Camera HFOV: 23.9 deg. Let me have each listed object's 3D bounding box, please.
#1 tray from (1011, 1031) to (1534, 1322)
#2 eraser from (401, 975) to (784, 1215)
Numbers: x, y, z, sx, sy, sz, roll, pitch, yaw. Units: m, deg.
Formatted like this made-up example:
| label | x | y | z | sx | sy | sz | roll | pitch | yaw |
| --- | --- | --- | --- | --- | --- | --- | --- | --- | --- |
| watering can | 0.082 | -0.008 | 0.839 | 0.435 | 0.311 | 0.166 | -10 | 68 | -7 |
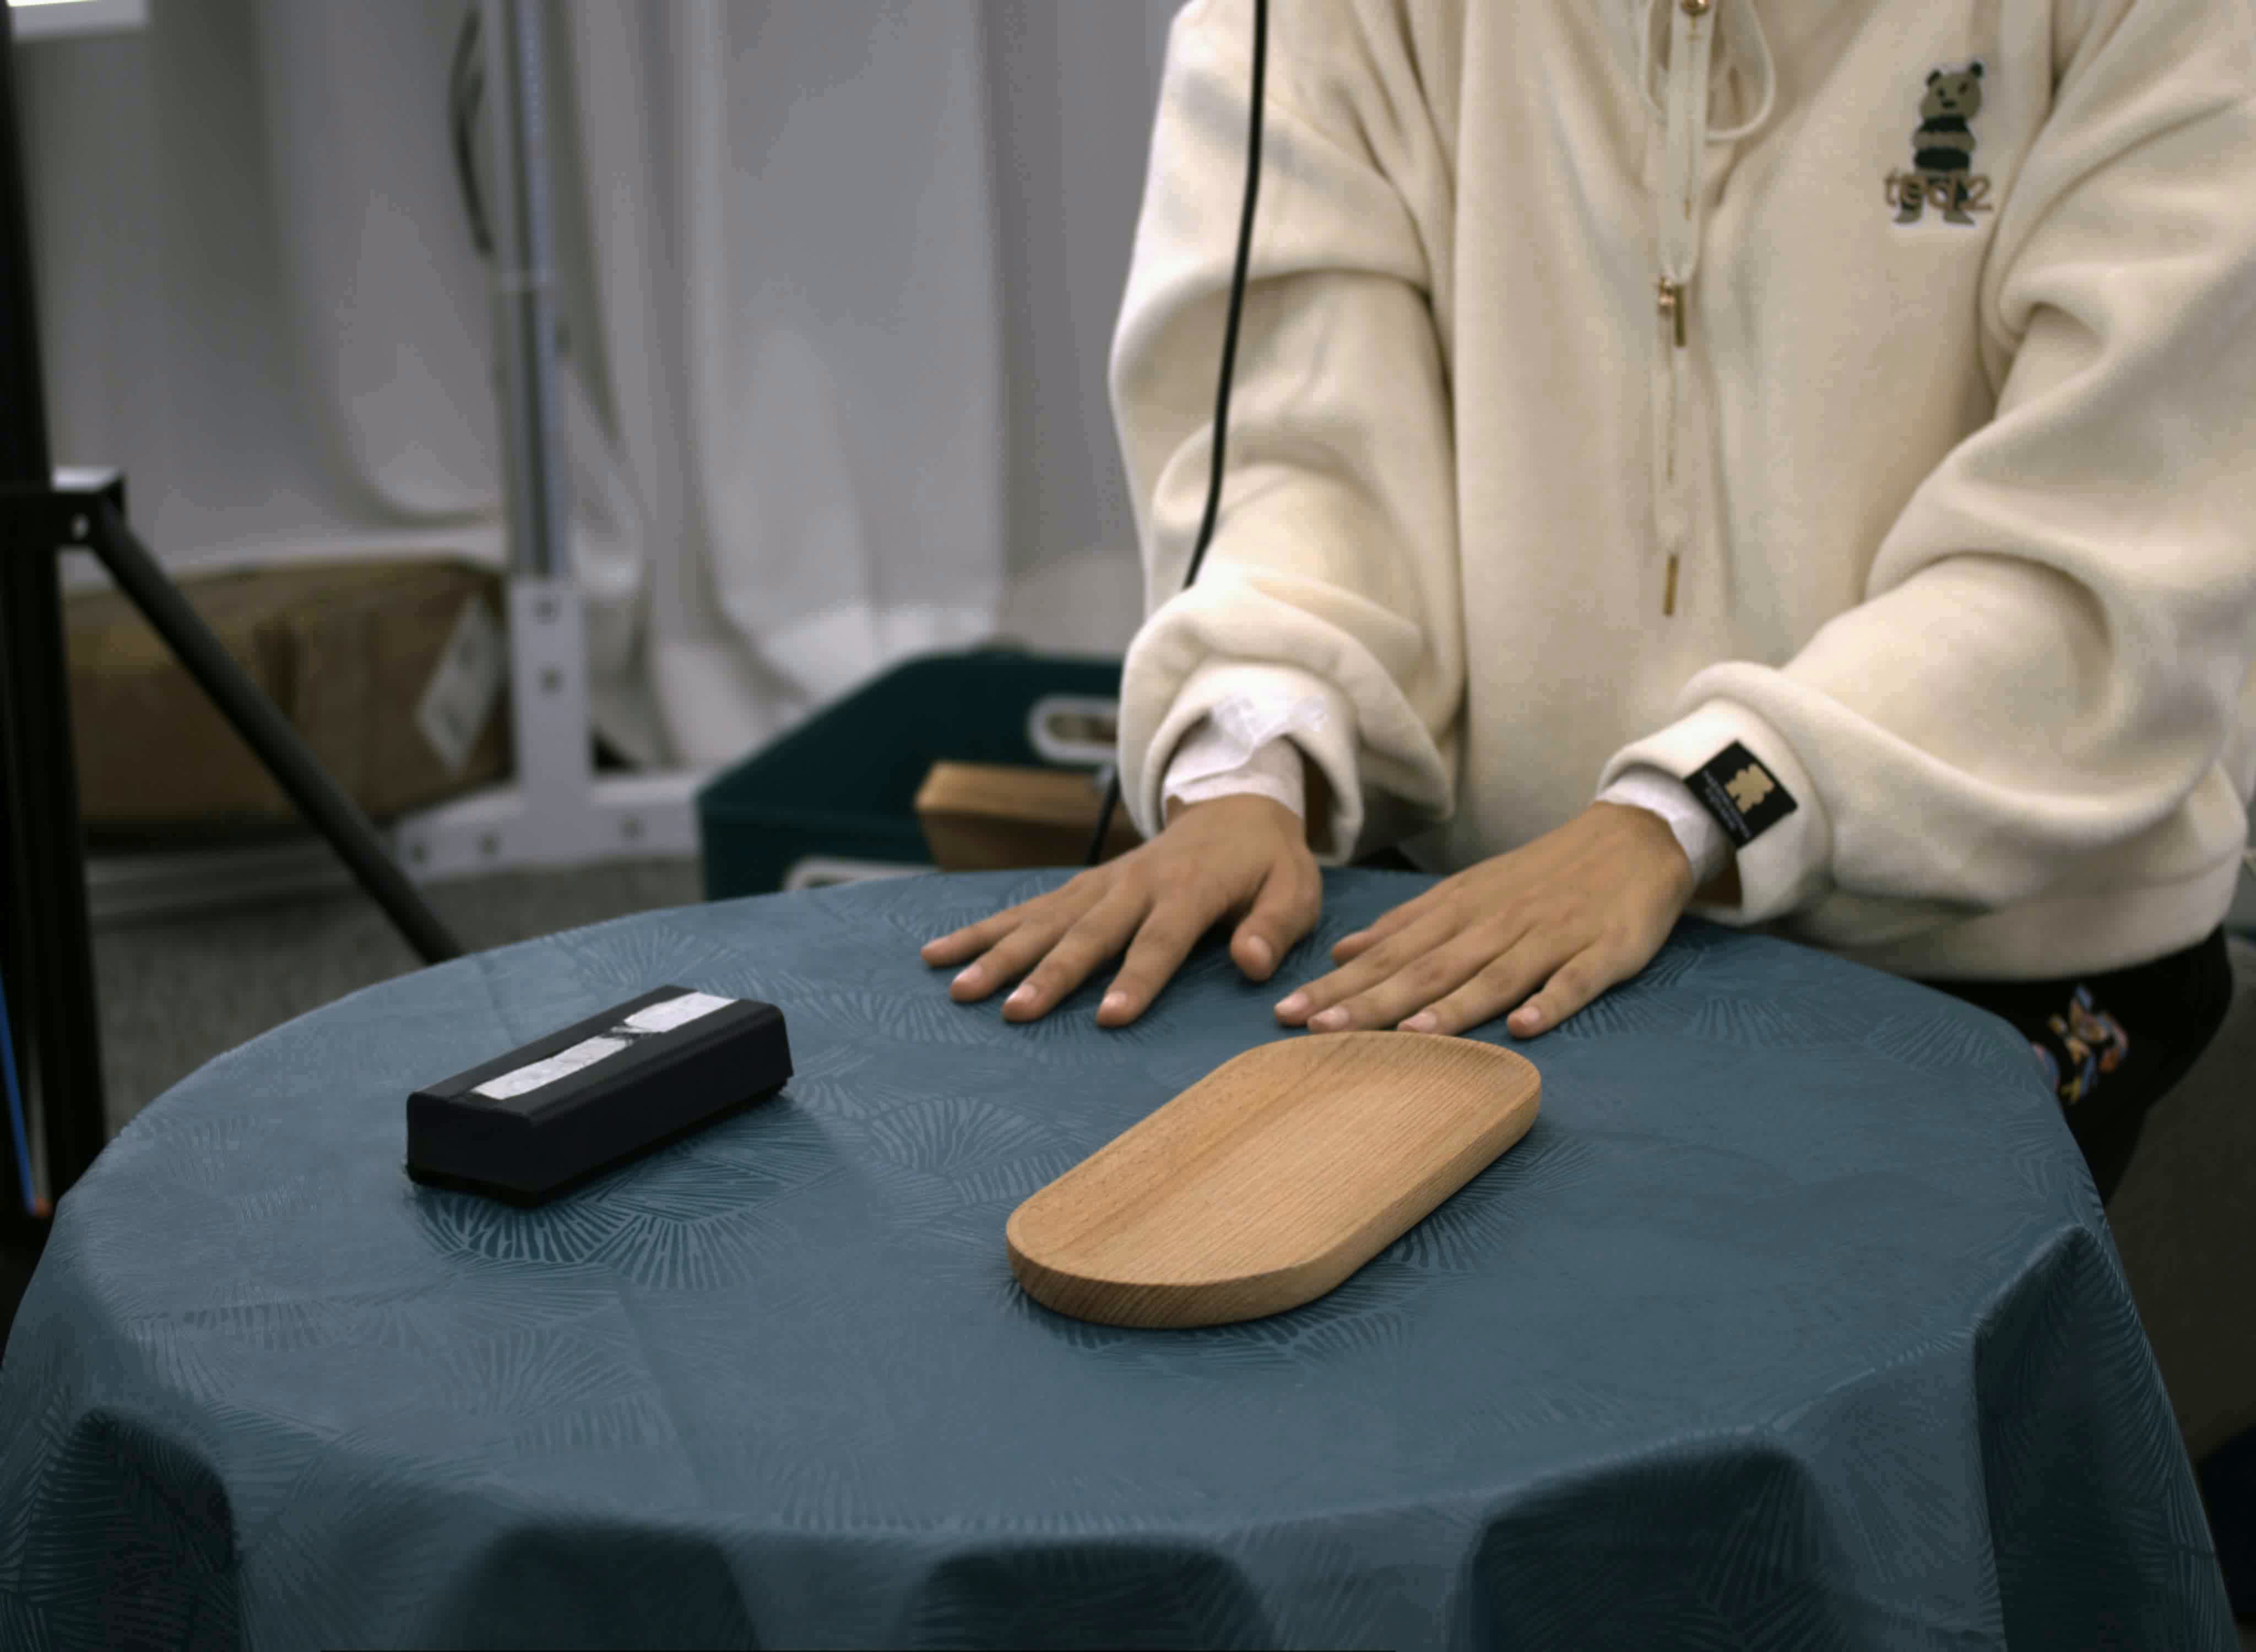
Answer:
| label | x | y | z | sx | sy | sz | roll | pitch | yaw |
| --- | --- | --- | --- | --- | --- | --- | --- | --- | --- |
| tray | 0.045 | 0.100 | 1.548 | 0.103 | 0.020 | 0.227 | 6 | 16 | 25 |
| eraser | -0.162 | 0.081 | 1.624 | 0.054 | 0.030 | 0.123 | 15 | 24 | 31 |
